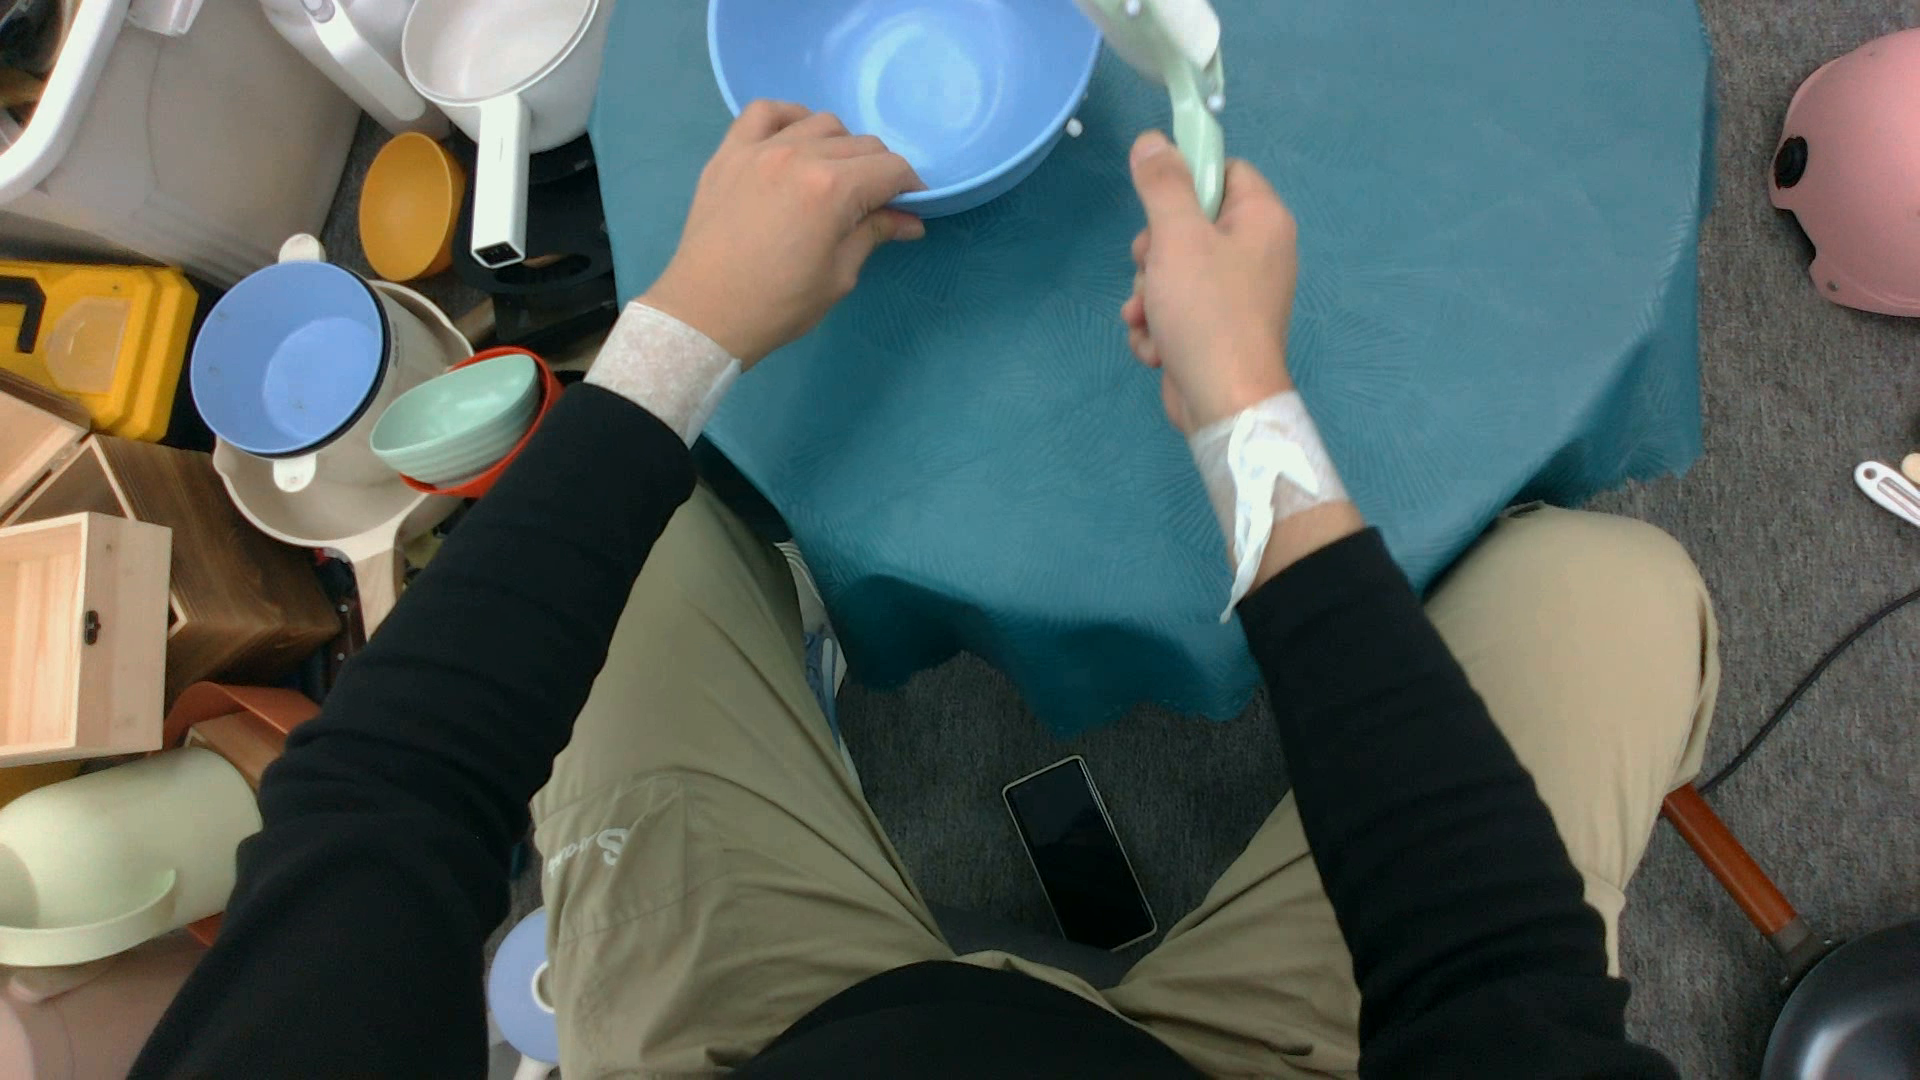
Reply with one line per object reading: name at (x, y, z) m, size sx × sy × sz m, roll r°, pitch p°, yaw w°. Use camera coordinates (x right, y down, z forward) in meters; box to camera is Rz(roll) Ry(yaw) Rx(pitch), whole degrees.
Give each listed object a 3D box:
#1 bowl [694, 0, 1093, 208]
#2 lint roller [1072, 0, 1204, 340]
bowl at (-0.030, -0.255, 0.715) m, size 0.196 × 0.095 × 0.197 m, roll -1°, pitch 80°, yaw 4°
lint roller at (0.082, -0.187, 0.611) m, size 0.048 × 0.117 × 0.198 m, roll -15°, pitch 77°, yaw 25°
